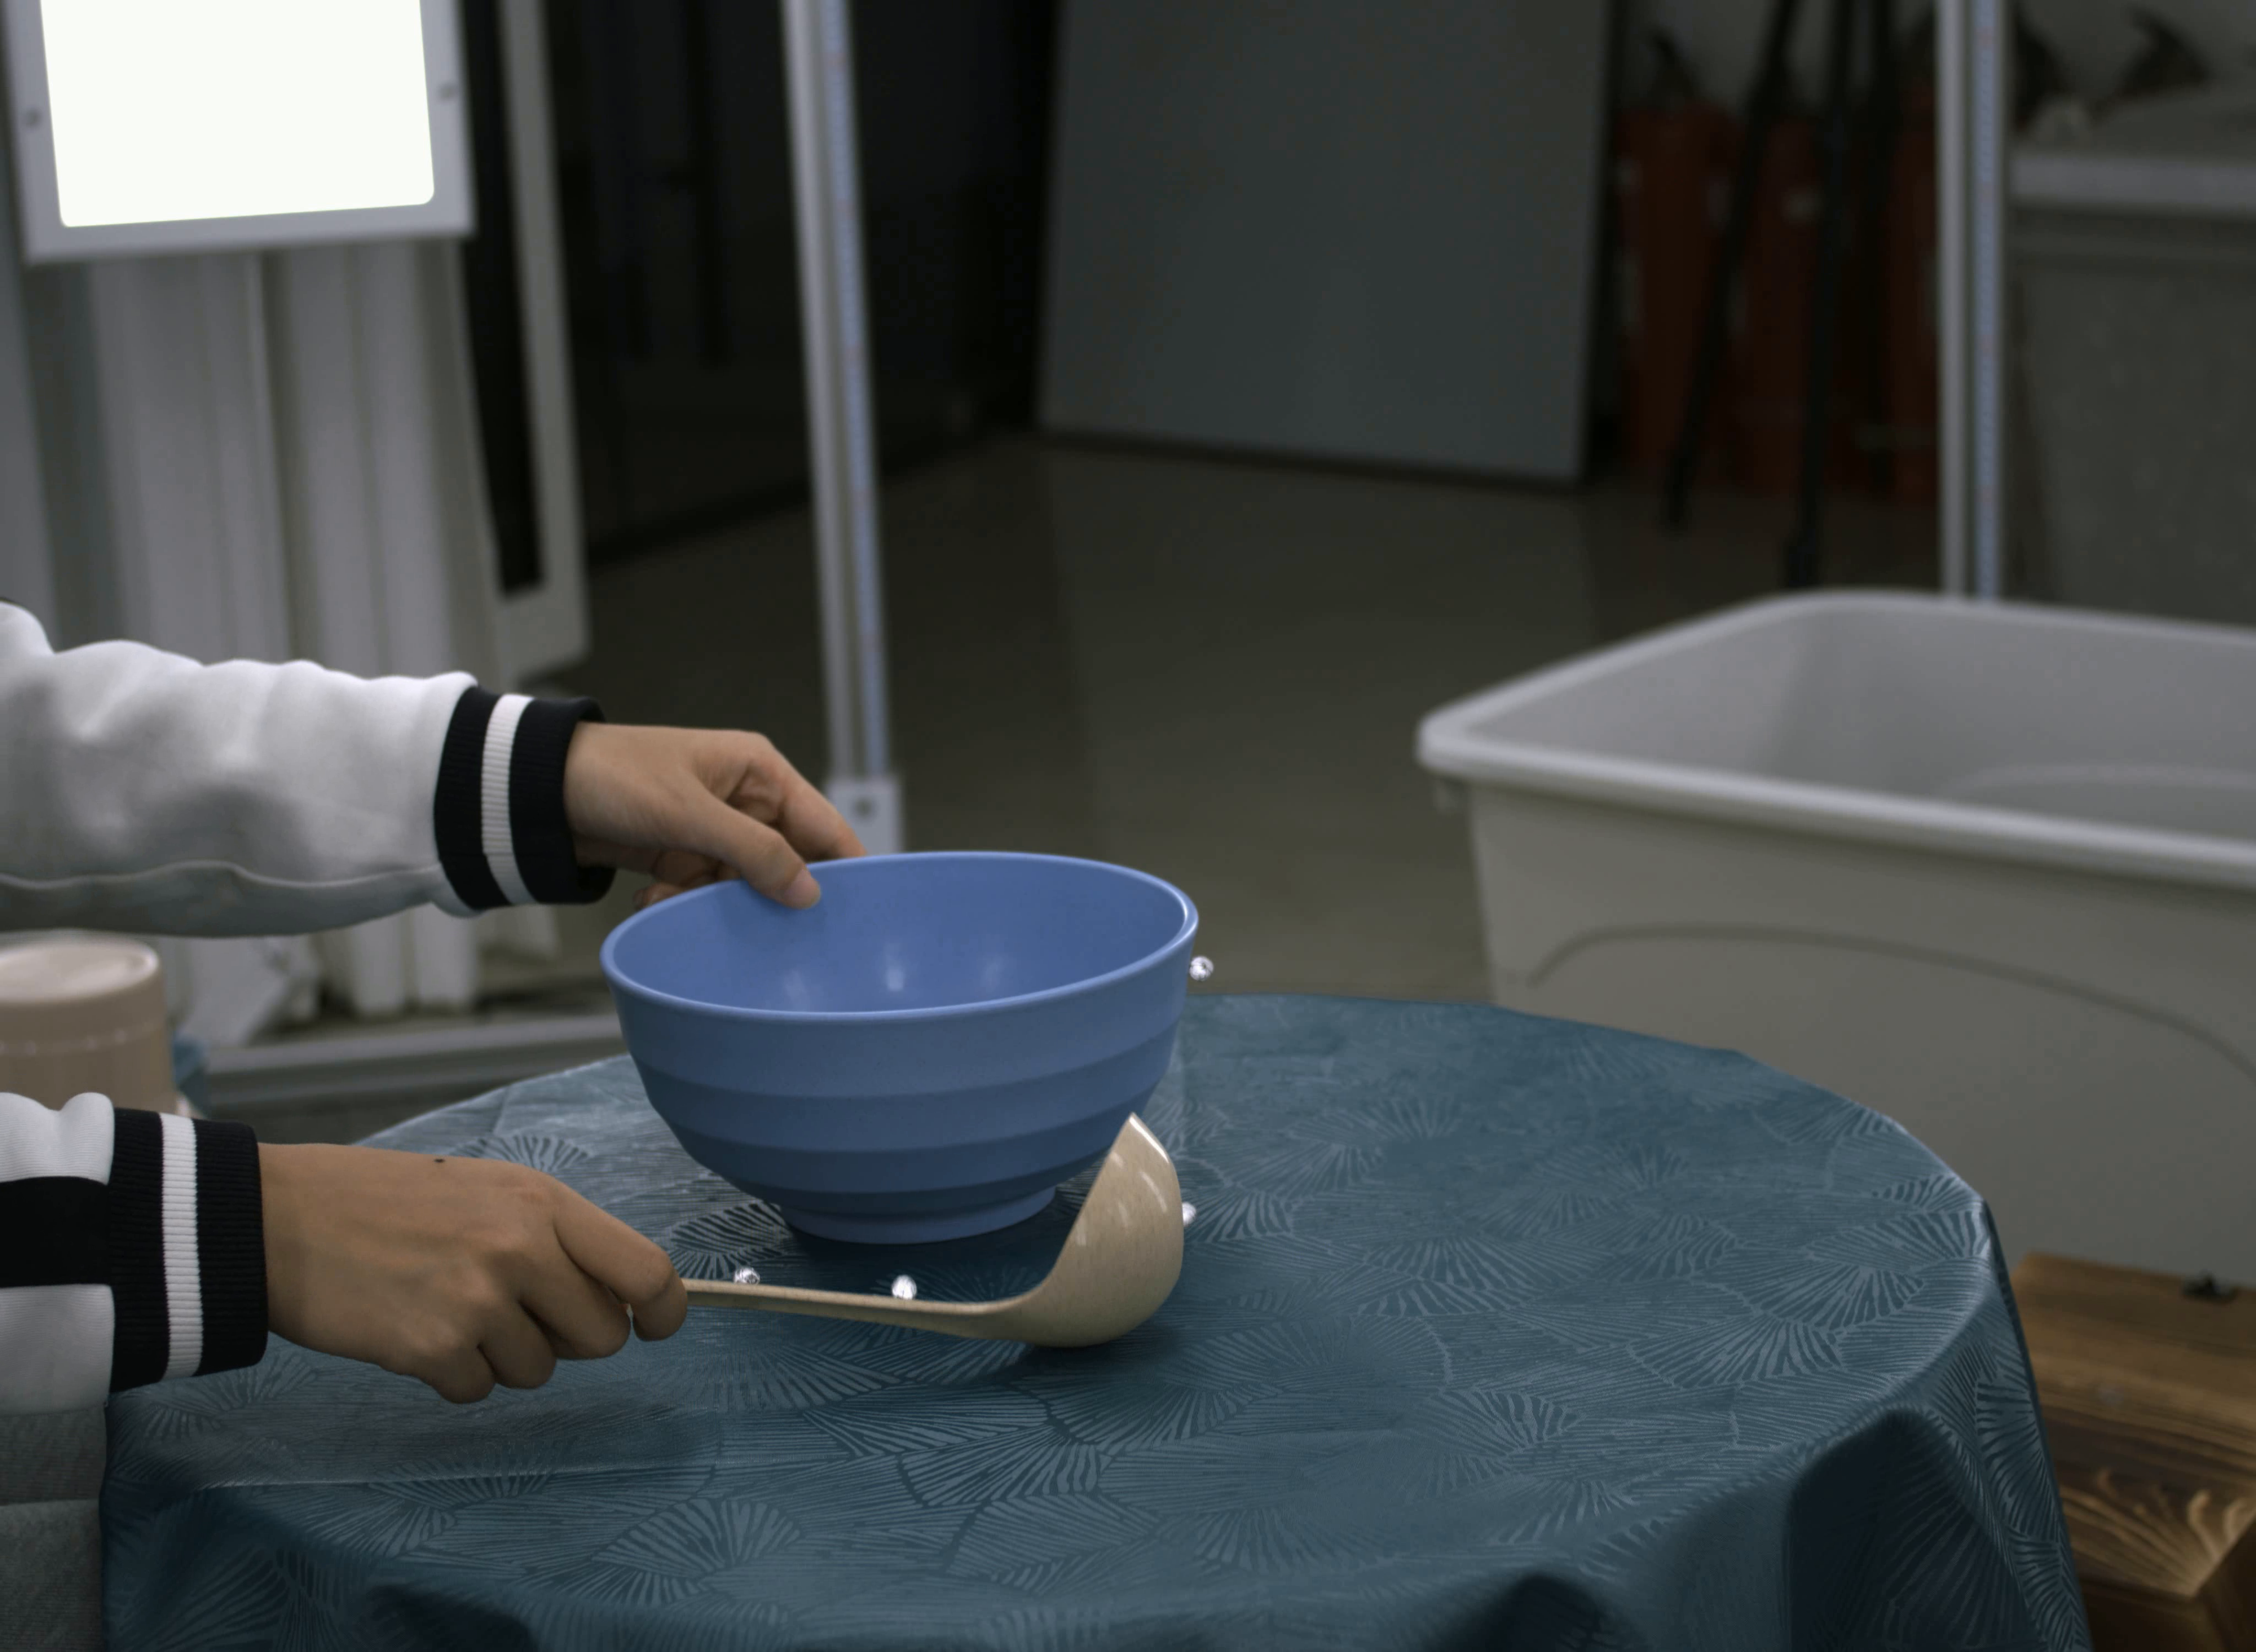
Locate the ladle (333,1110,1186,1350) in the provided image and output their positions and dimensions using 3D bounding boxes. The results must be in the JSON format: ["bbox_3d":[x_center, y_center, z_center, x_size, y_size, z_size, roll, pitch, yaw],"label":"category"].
[{"bbox_3d":[-0.108,0.115,1.605,0.250,0.073,0.072,4,-27,-9],"label":"ladle"}]

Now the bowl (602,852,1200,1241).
[{"bbox_3d":[-0.073,0.077,1.764,0.194,0.096,0.197,-1,12,-1],"label":"bowl"}]
